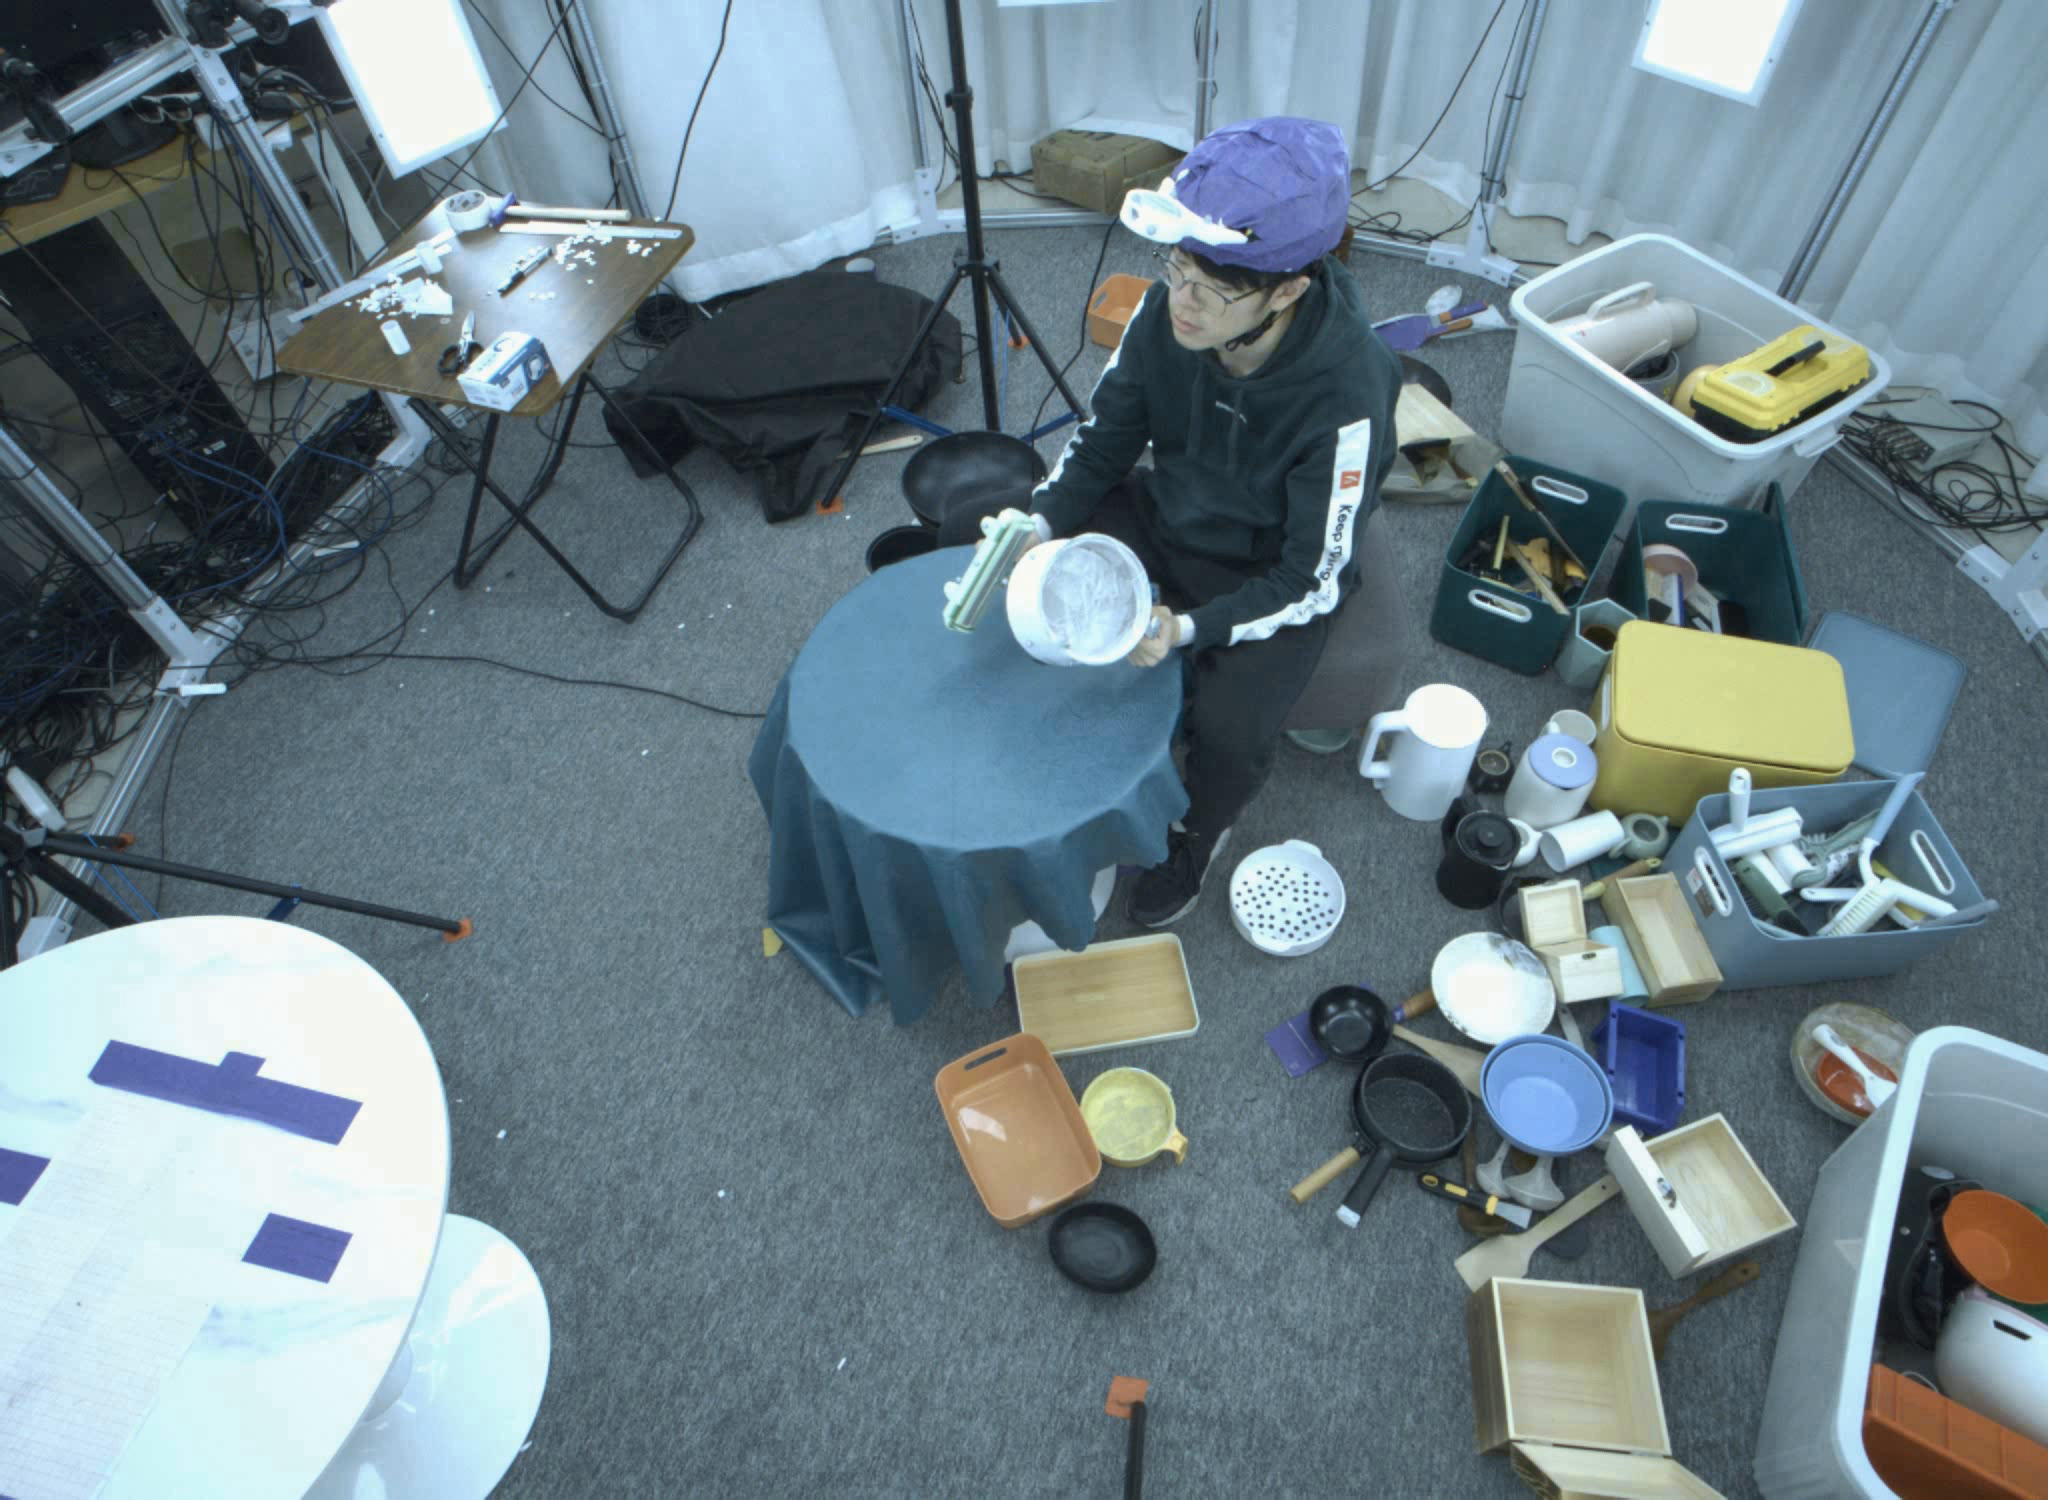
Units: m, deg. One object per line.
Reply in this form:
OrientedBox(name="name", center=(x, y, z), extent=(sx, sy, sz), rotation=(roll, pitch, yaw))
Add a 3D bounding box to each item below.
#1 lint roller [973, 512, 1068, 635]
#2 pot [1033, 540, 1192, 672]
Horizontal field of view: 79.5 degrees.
OrientedBox(name="lint roller", center=(0.000, -0.280, 1.840), extent=(0.082, 0.198, 0.183), rotation=(35, 26, -1))
OrientedBox(name="pot", center=(0.135, -0.189, 1.717), extent=(0.238, 0.134, 0.178), rotation=(18, 86, -27))
